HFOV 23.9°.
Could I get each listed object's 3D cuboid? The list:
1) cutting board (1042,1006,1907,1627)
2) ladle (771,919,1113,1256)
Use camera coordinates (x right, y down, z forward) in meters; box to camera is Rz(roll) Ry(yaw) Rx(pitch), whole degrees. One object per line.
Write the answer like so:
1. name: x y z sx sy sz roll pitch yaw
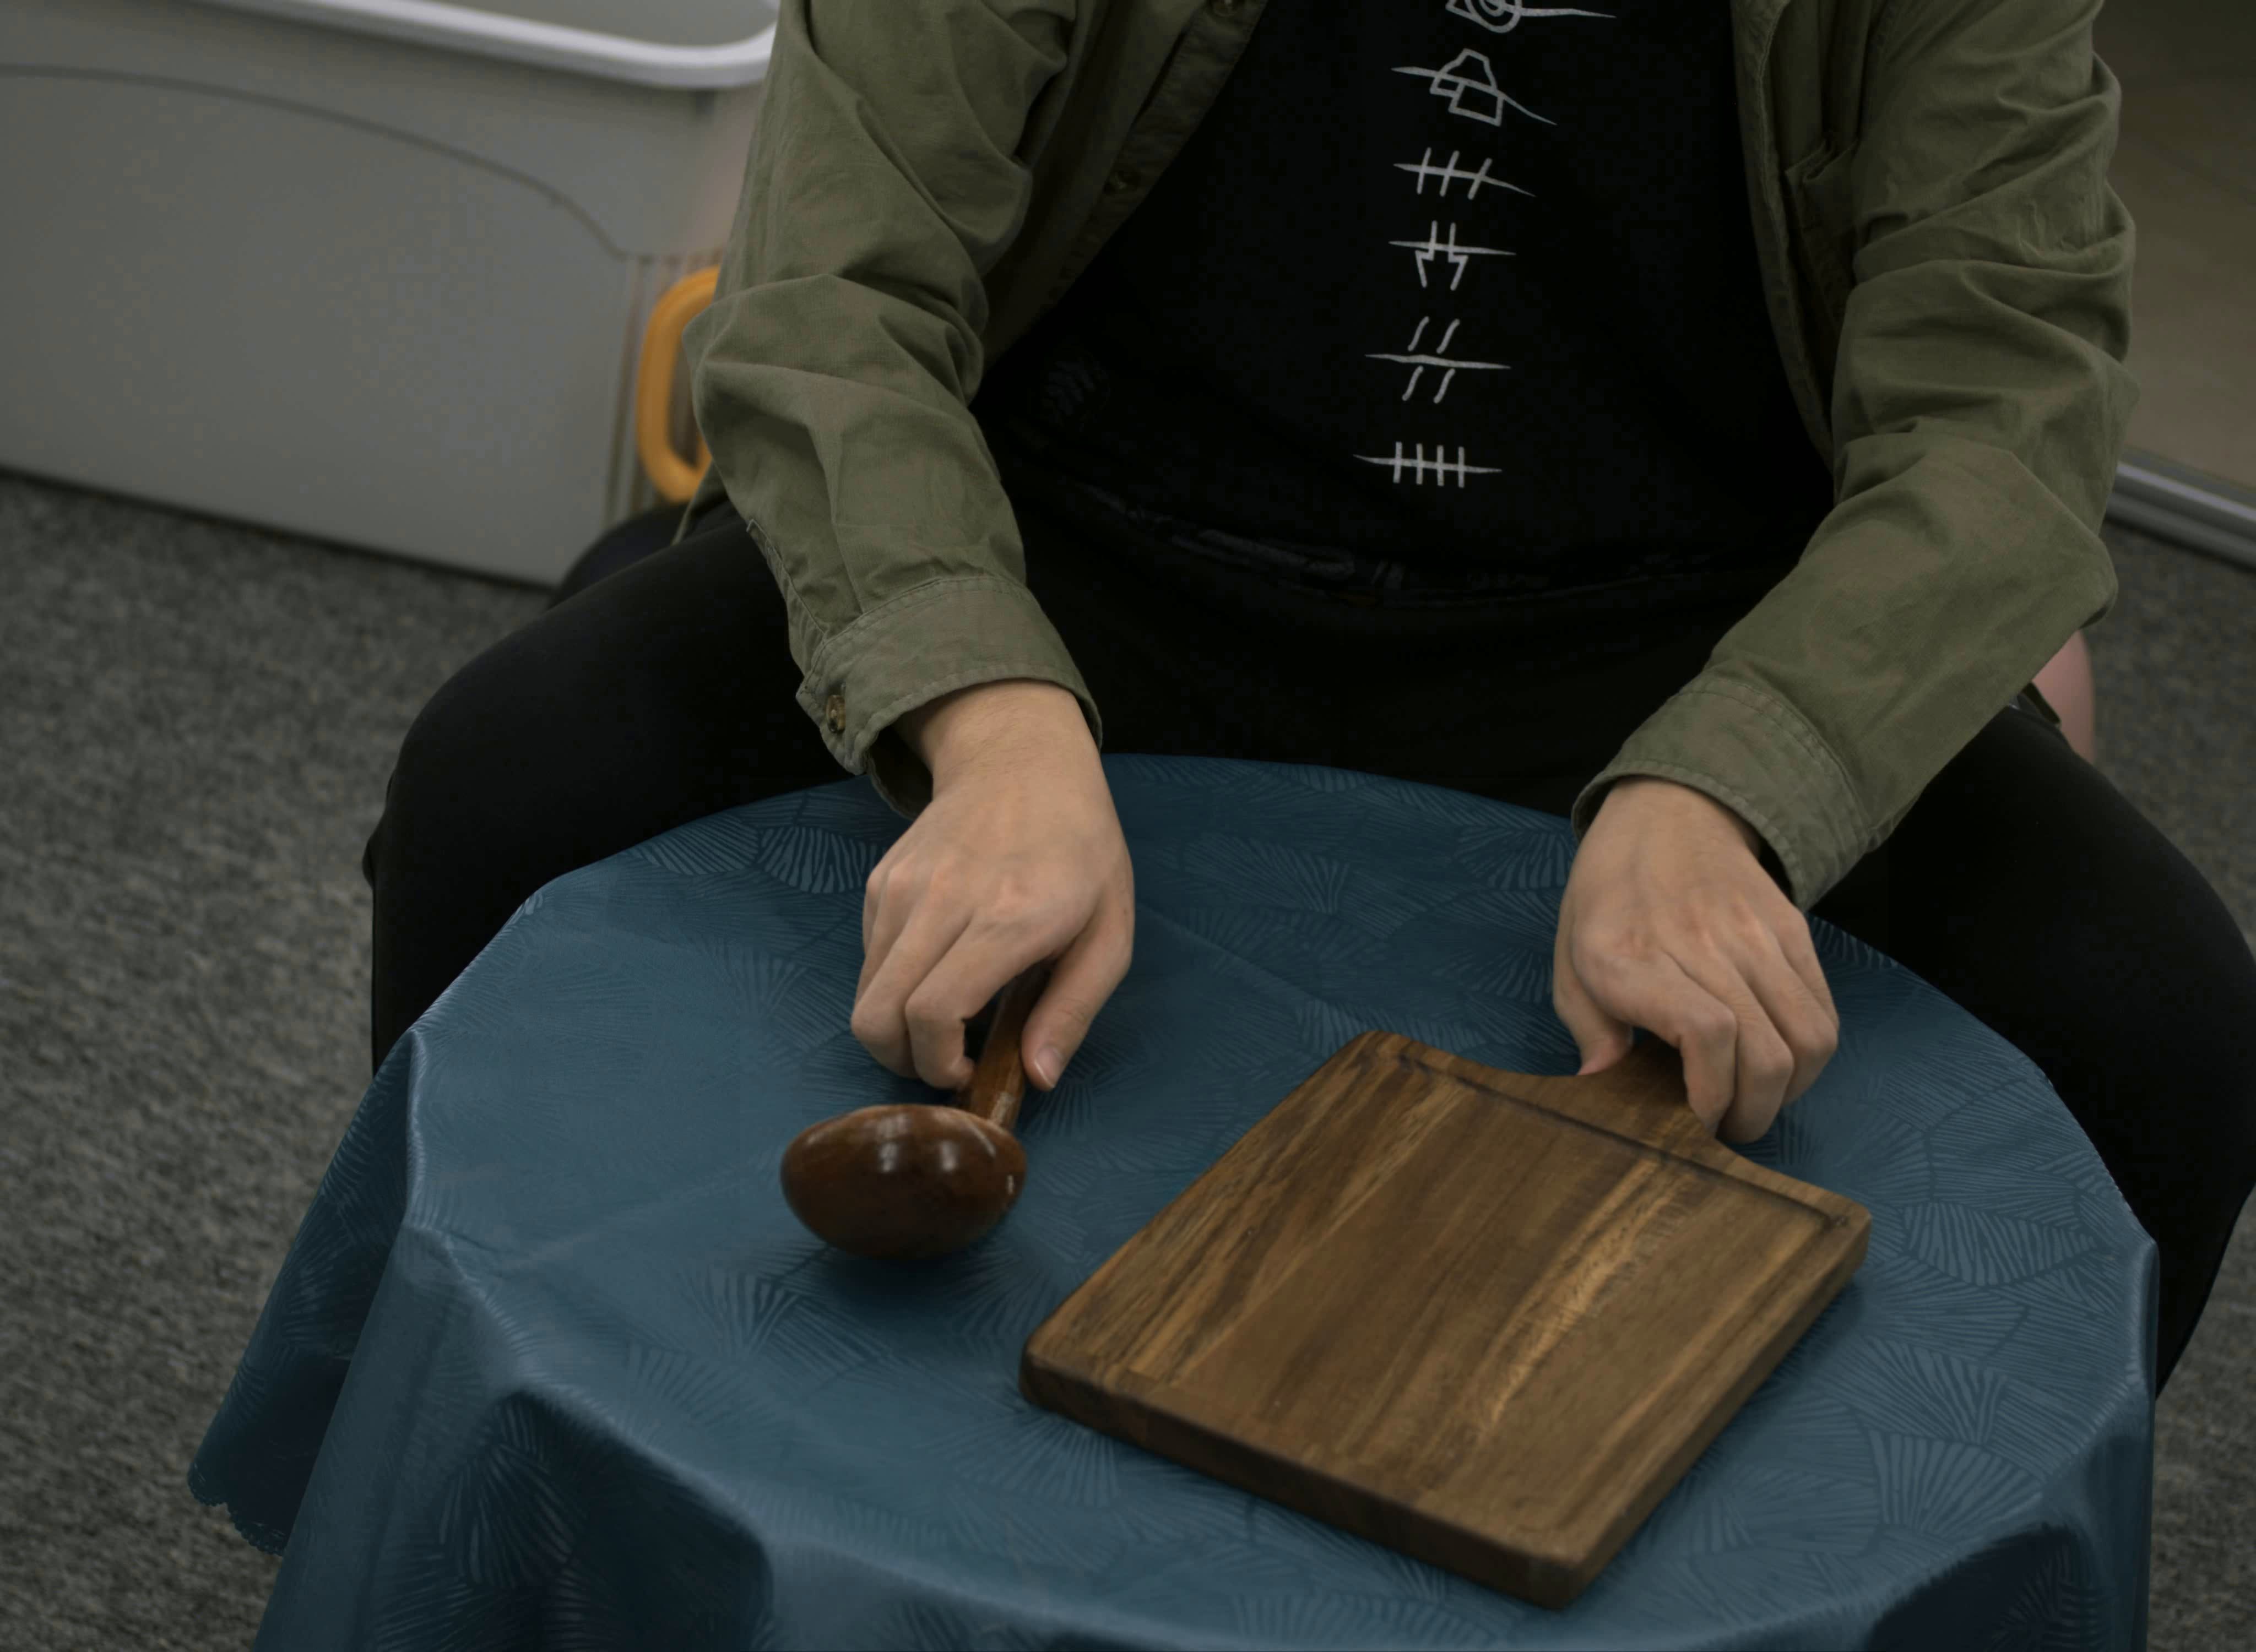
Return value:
1. cutting board: 0.142 0.140 1.763 0.202 0.023 0.351 20 31 24
2. ladle: -0.054 0.068 1.816 0.082 0.076 0.275 -7 24 16
